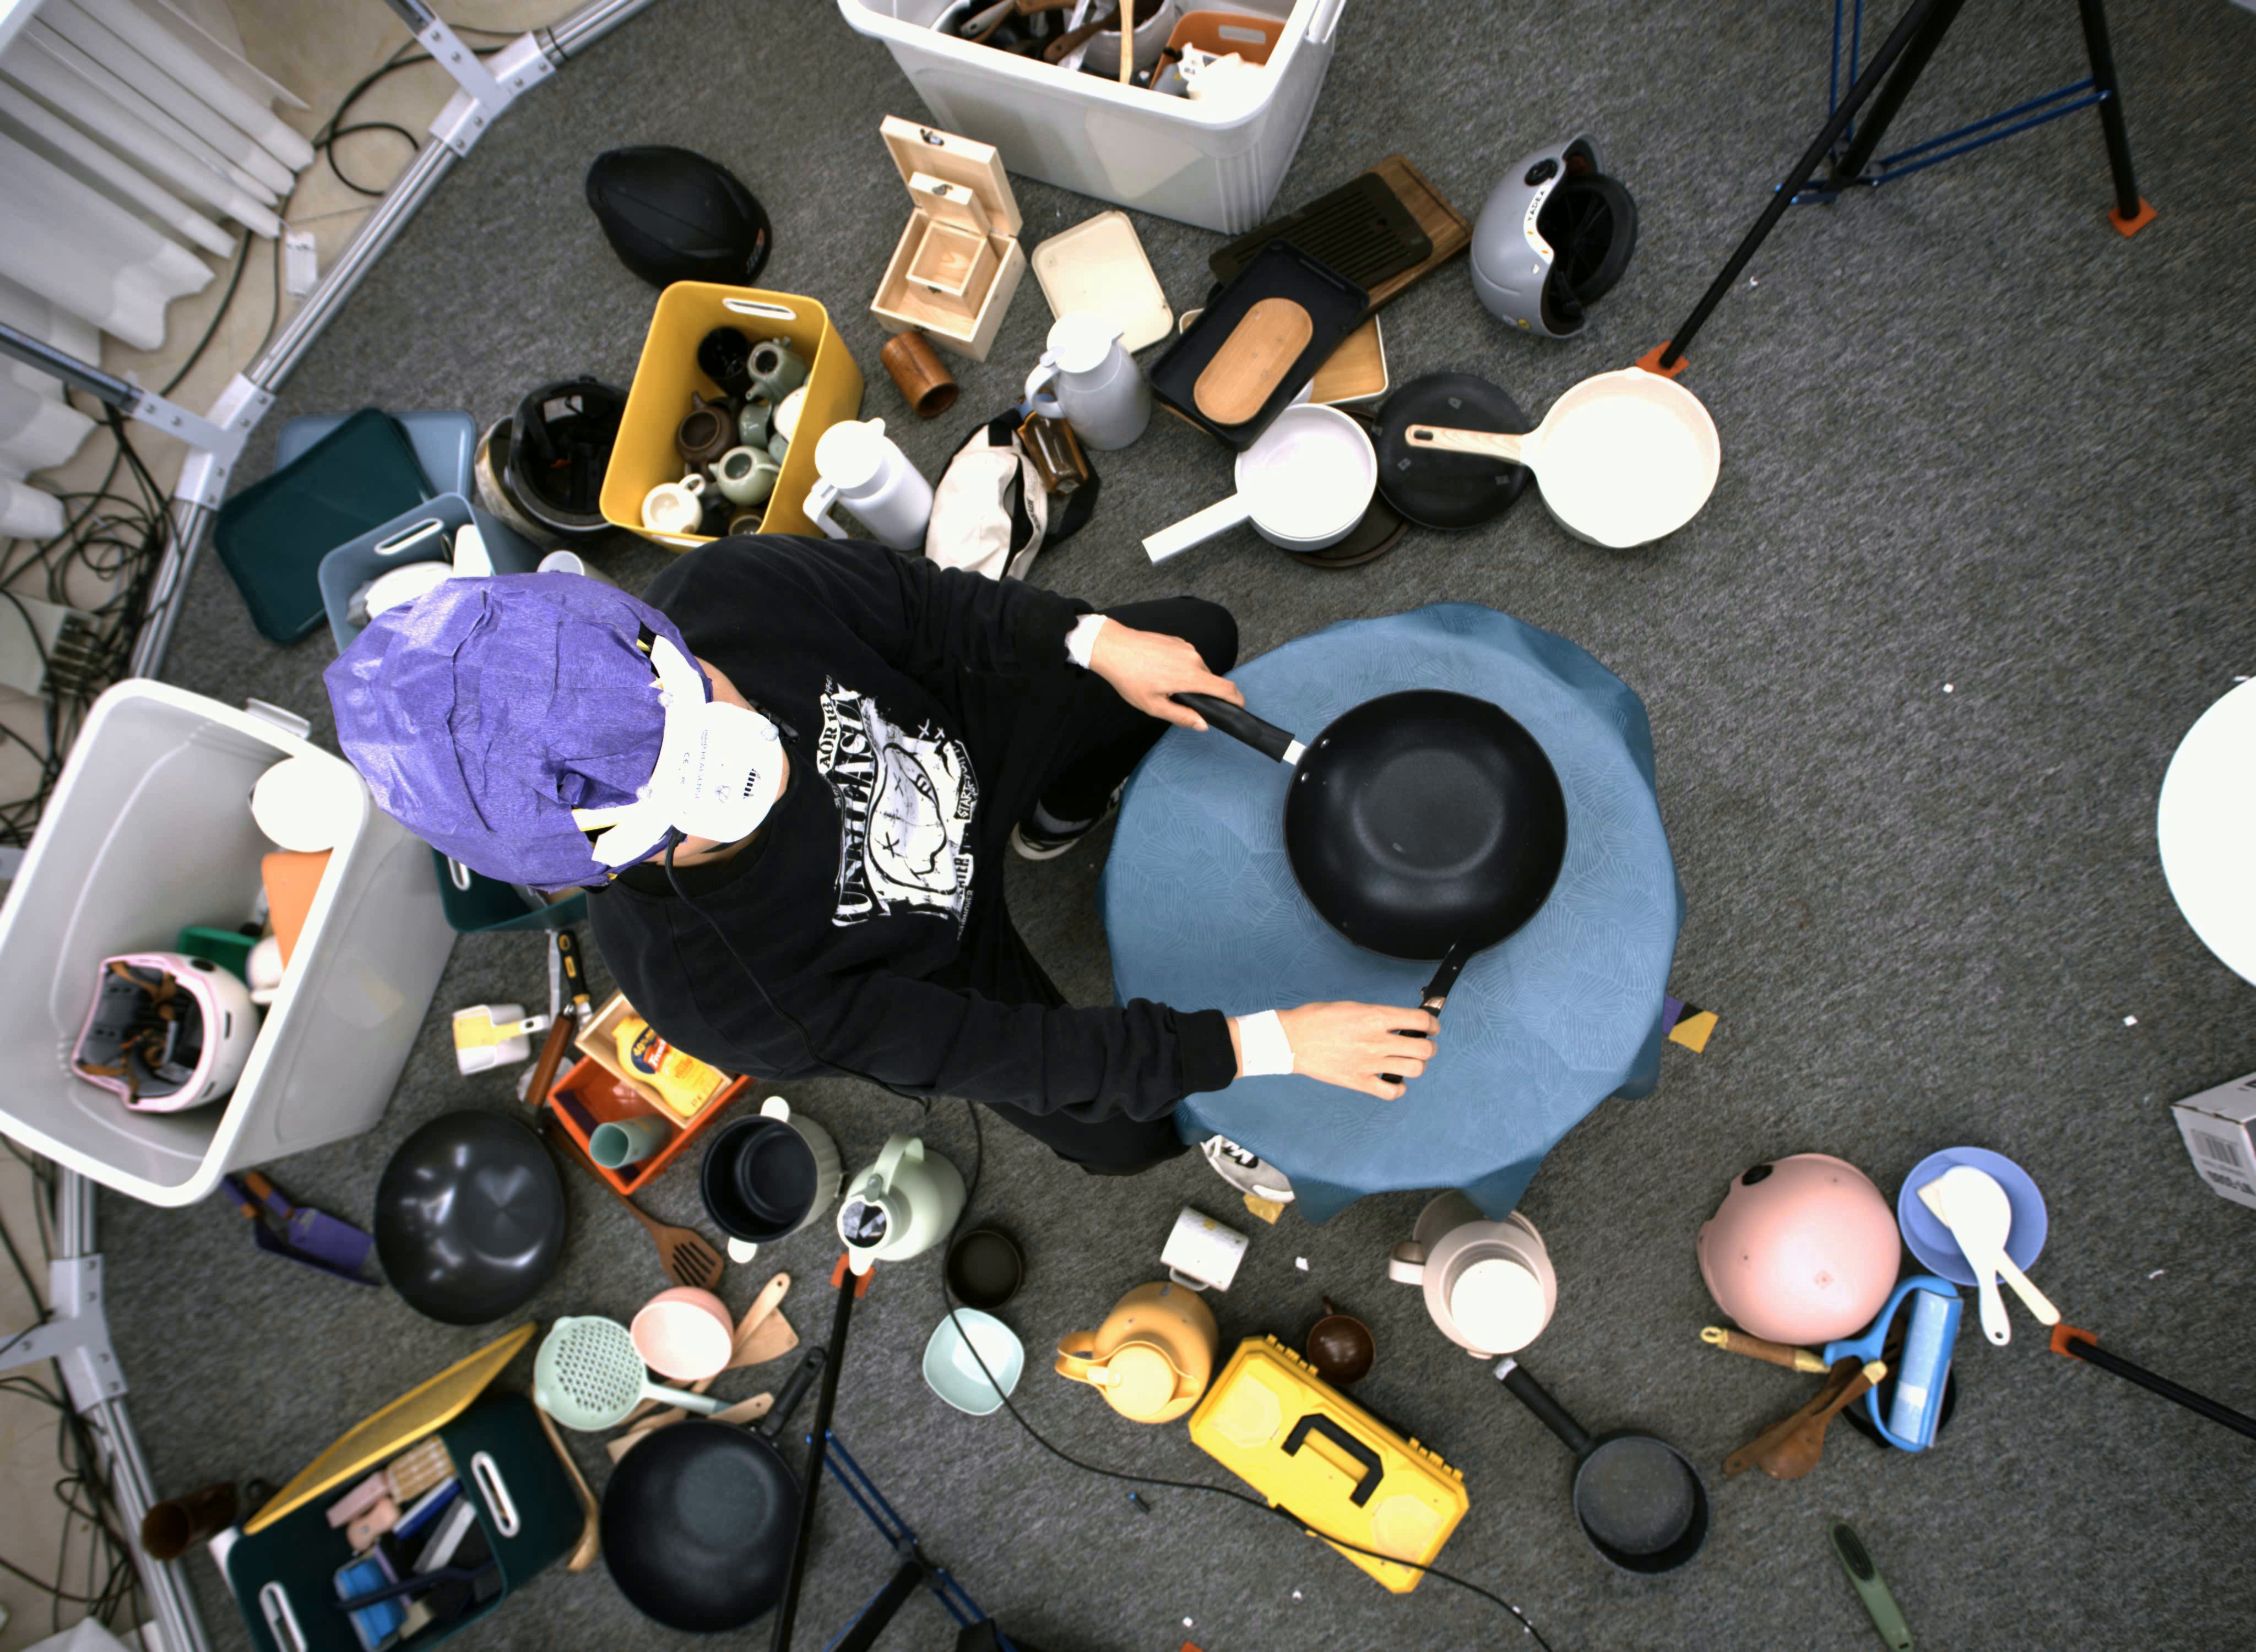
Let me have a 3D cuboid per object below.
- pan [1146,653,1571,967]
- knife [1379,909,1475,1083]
[{"bbox_3d":[0.226,-0.051,1.404,0.462,0.085,0.294,31,115,8],"label":"pan"},{"bbox_3d":[0.301,0.162,1.357,0.026,0.017,0.220,20,56,29],"label":"knife"}]
